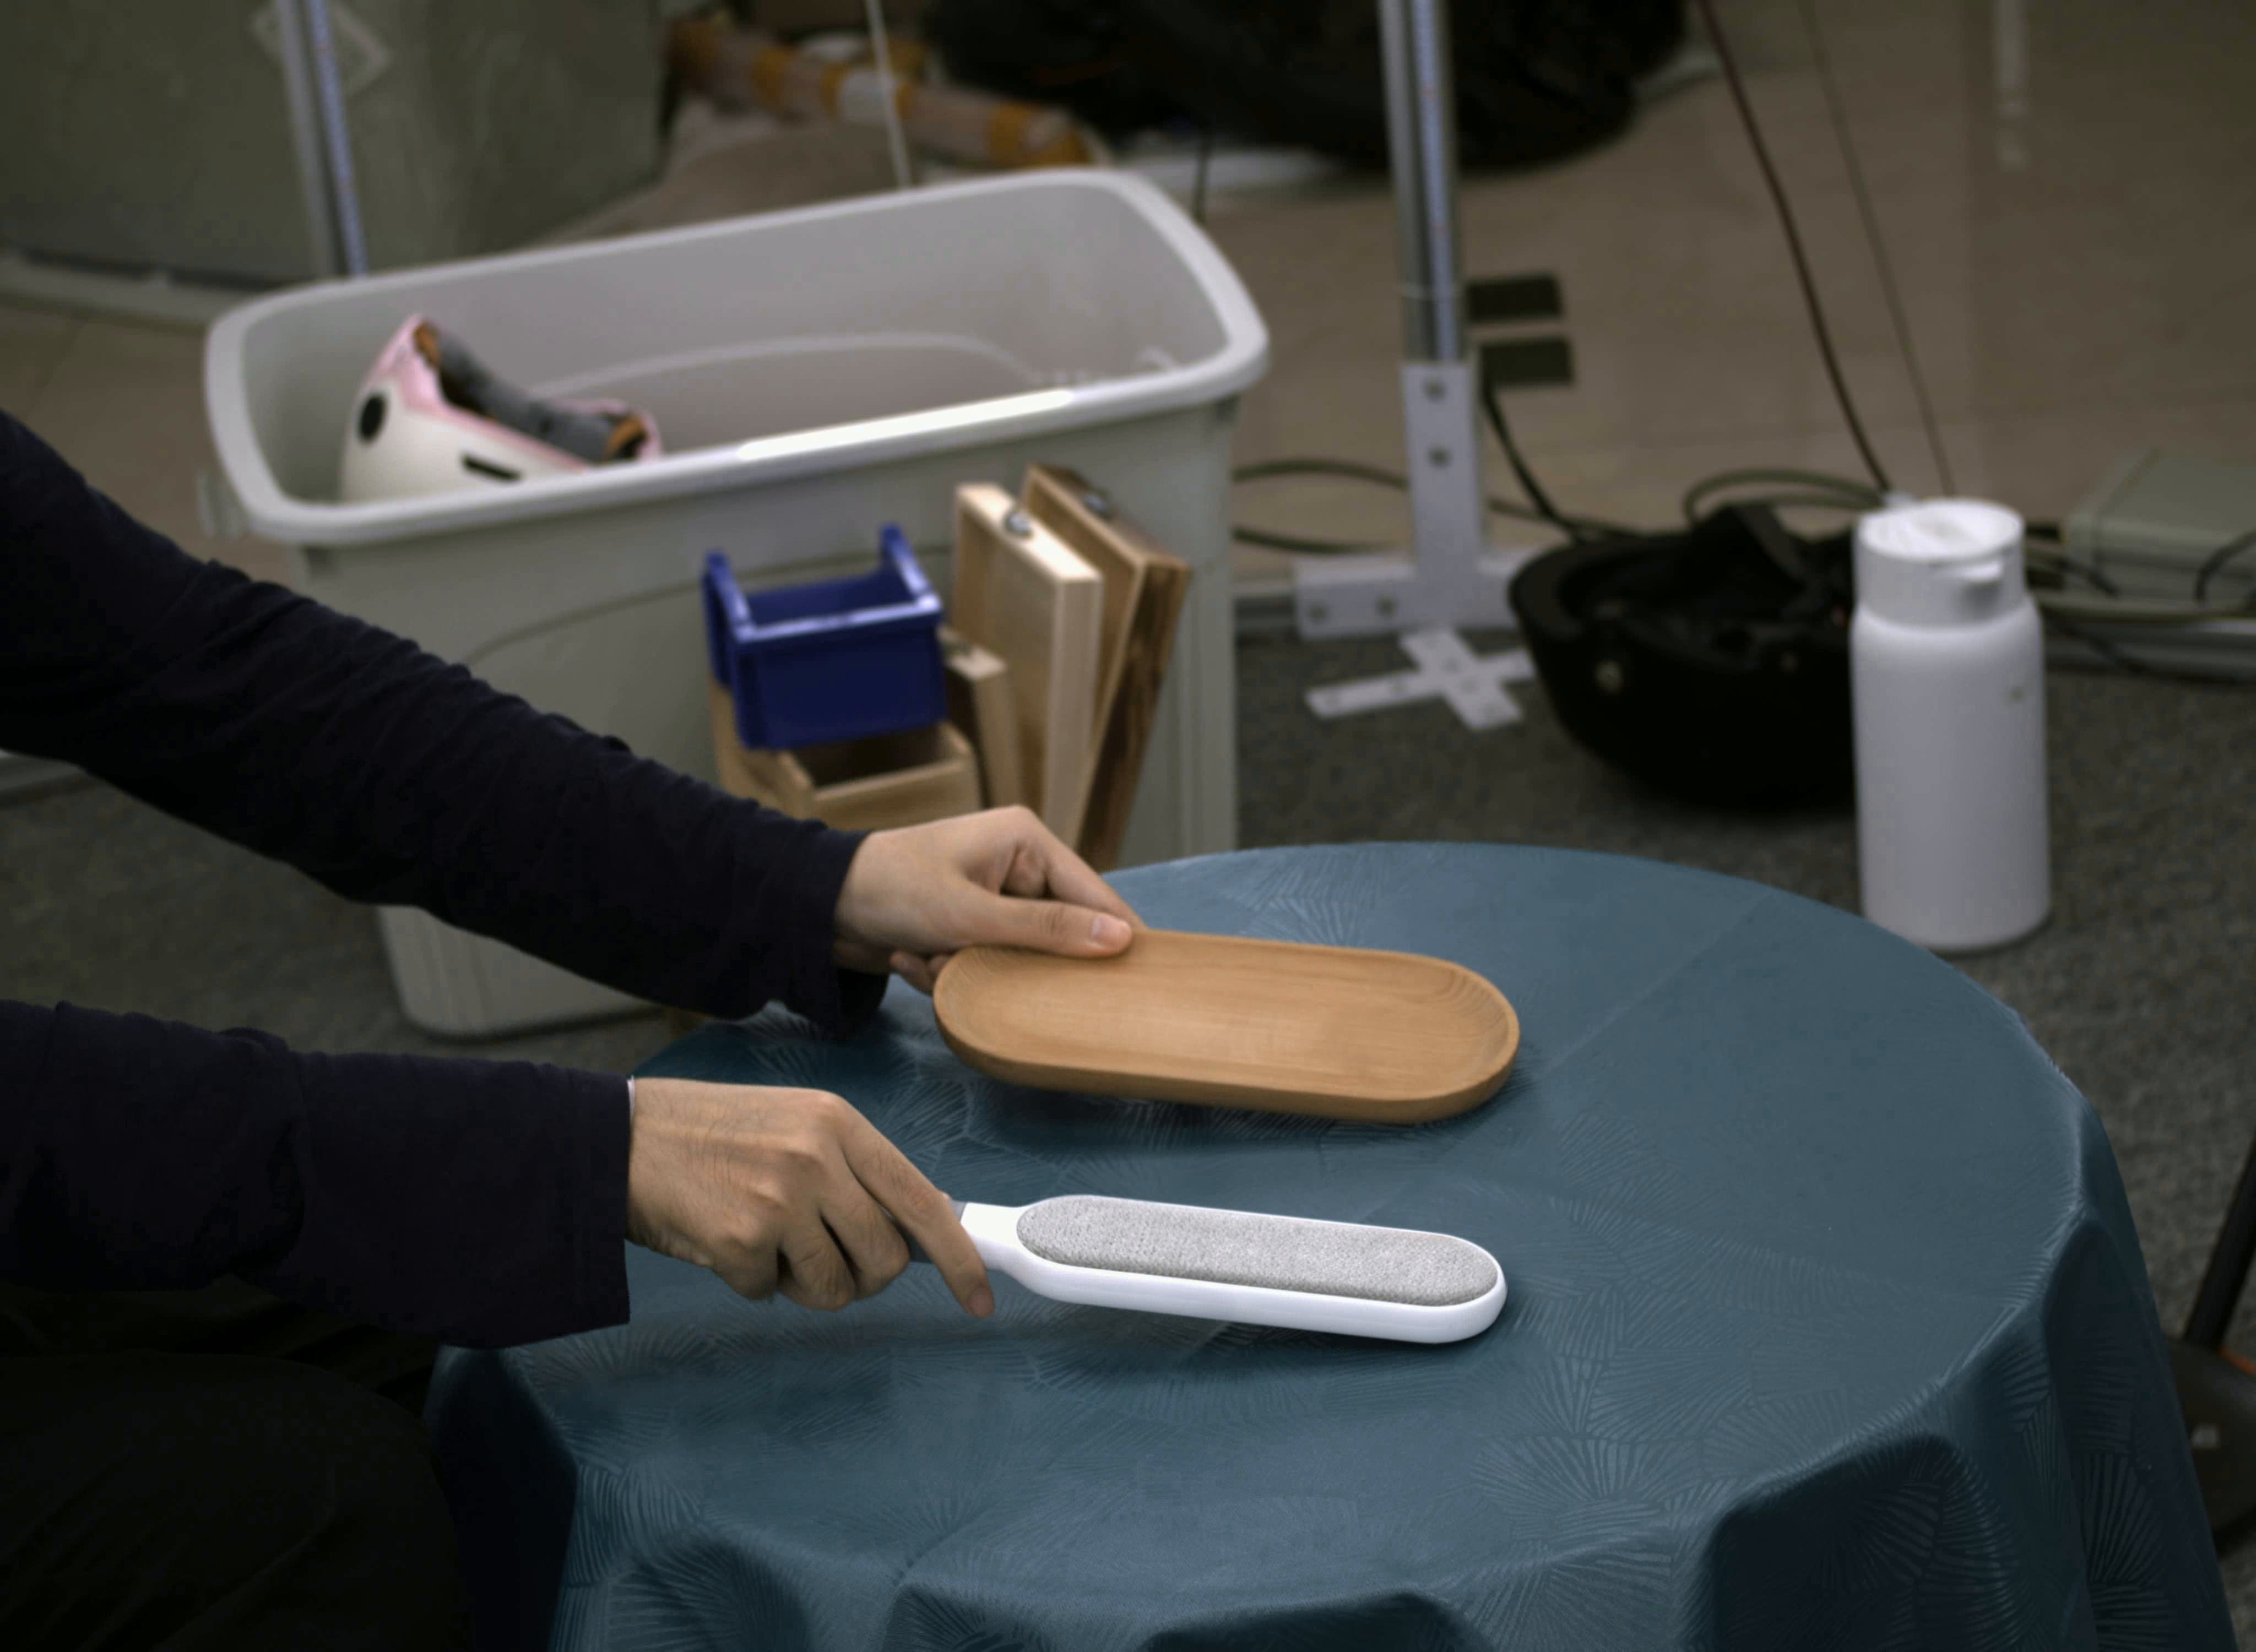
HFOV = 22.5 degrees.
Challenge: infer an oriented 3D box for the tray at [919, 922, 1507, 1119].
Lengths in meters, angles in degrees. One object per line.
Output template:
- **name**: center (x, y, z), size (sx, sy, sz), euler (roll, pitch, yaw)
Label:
- **tray**: center (0.033, 0.076, 2.216), size (0.230, 0.021, 0.100), euler (4, 32, 8)

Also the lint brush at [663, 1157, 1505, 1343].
- **lint brush**: center (-0.017, 0.148, 2.052), size (0.308, 0.021, 0.059), euler (7, 34, 7)
